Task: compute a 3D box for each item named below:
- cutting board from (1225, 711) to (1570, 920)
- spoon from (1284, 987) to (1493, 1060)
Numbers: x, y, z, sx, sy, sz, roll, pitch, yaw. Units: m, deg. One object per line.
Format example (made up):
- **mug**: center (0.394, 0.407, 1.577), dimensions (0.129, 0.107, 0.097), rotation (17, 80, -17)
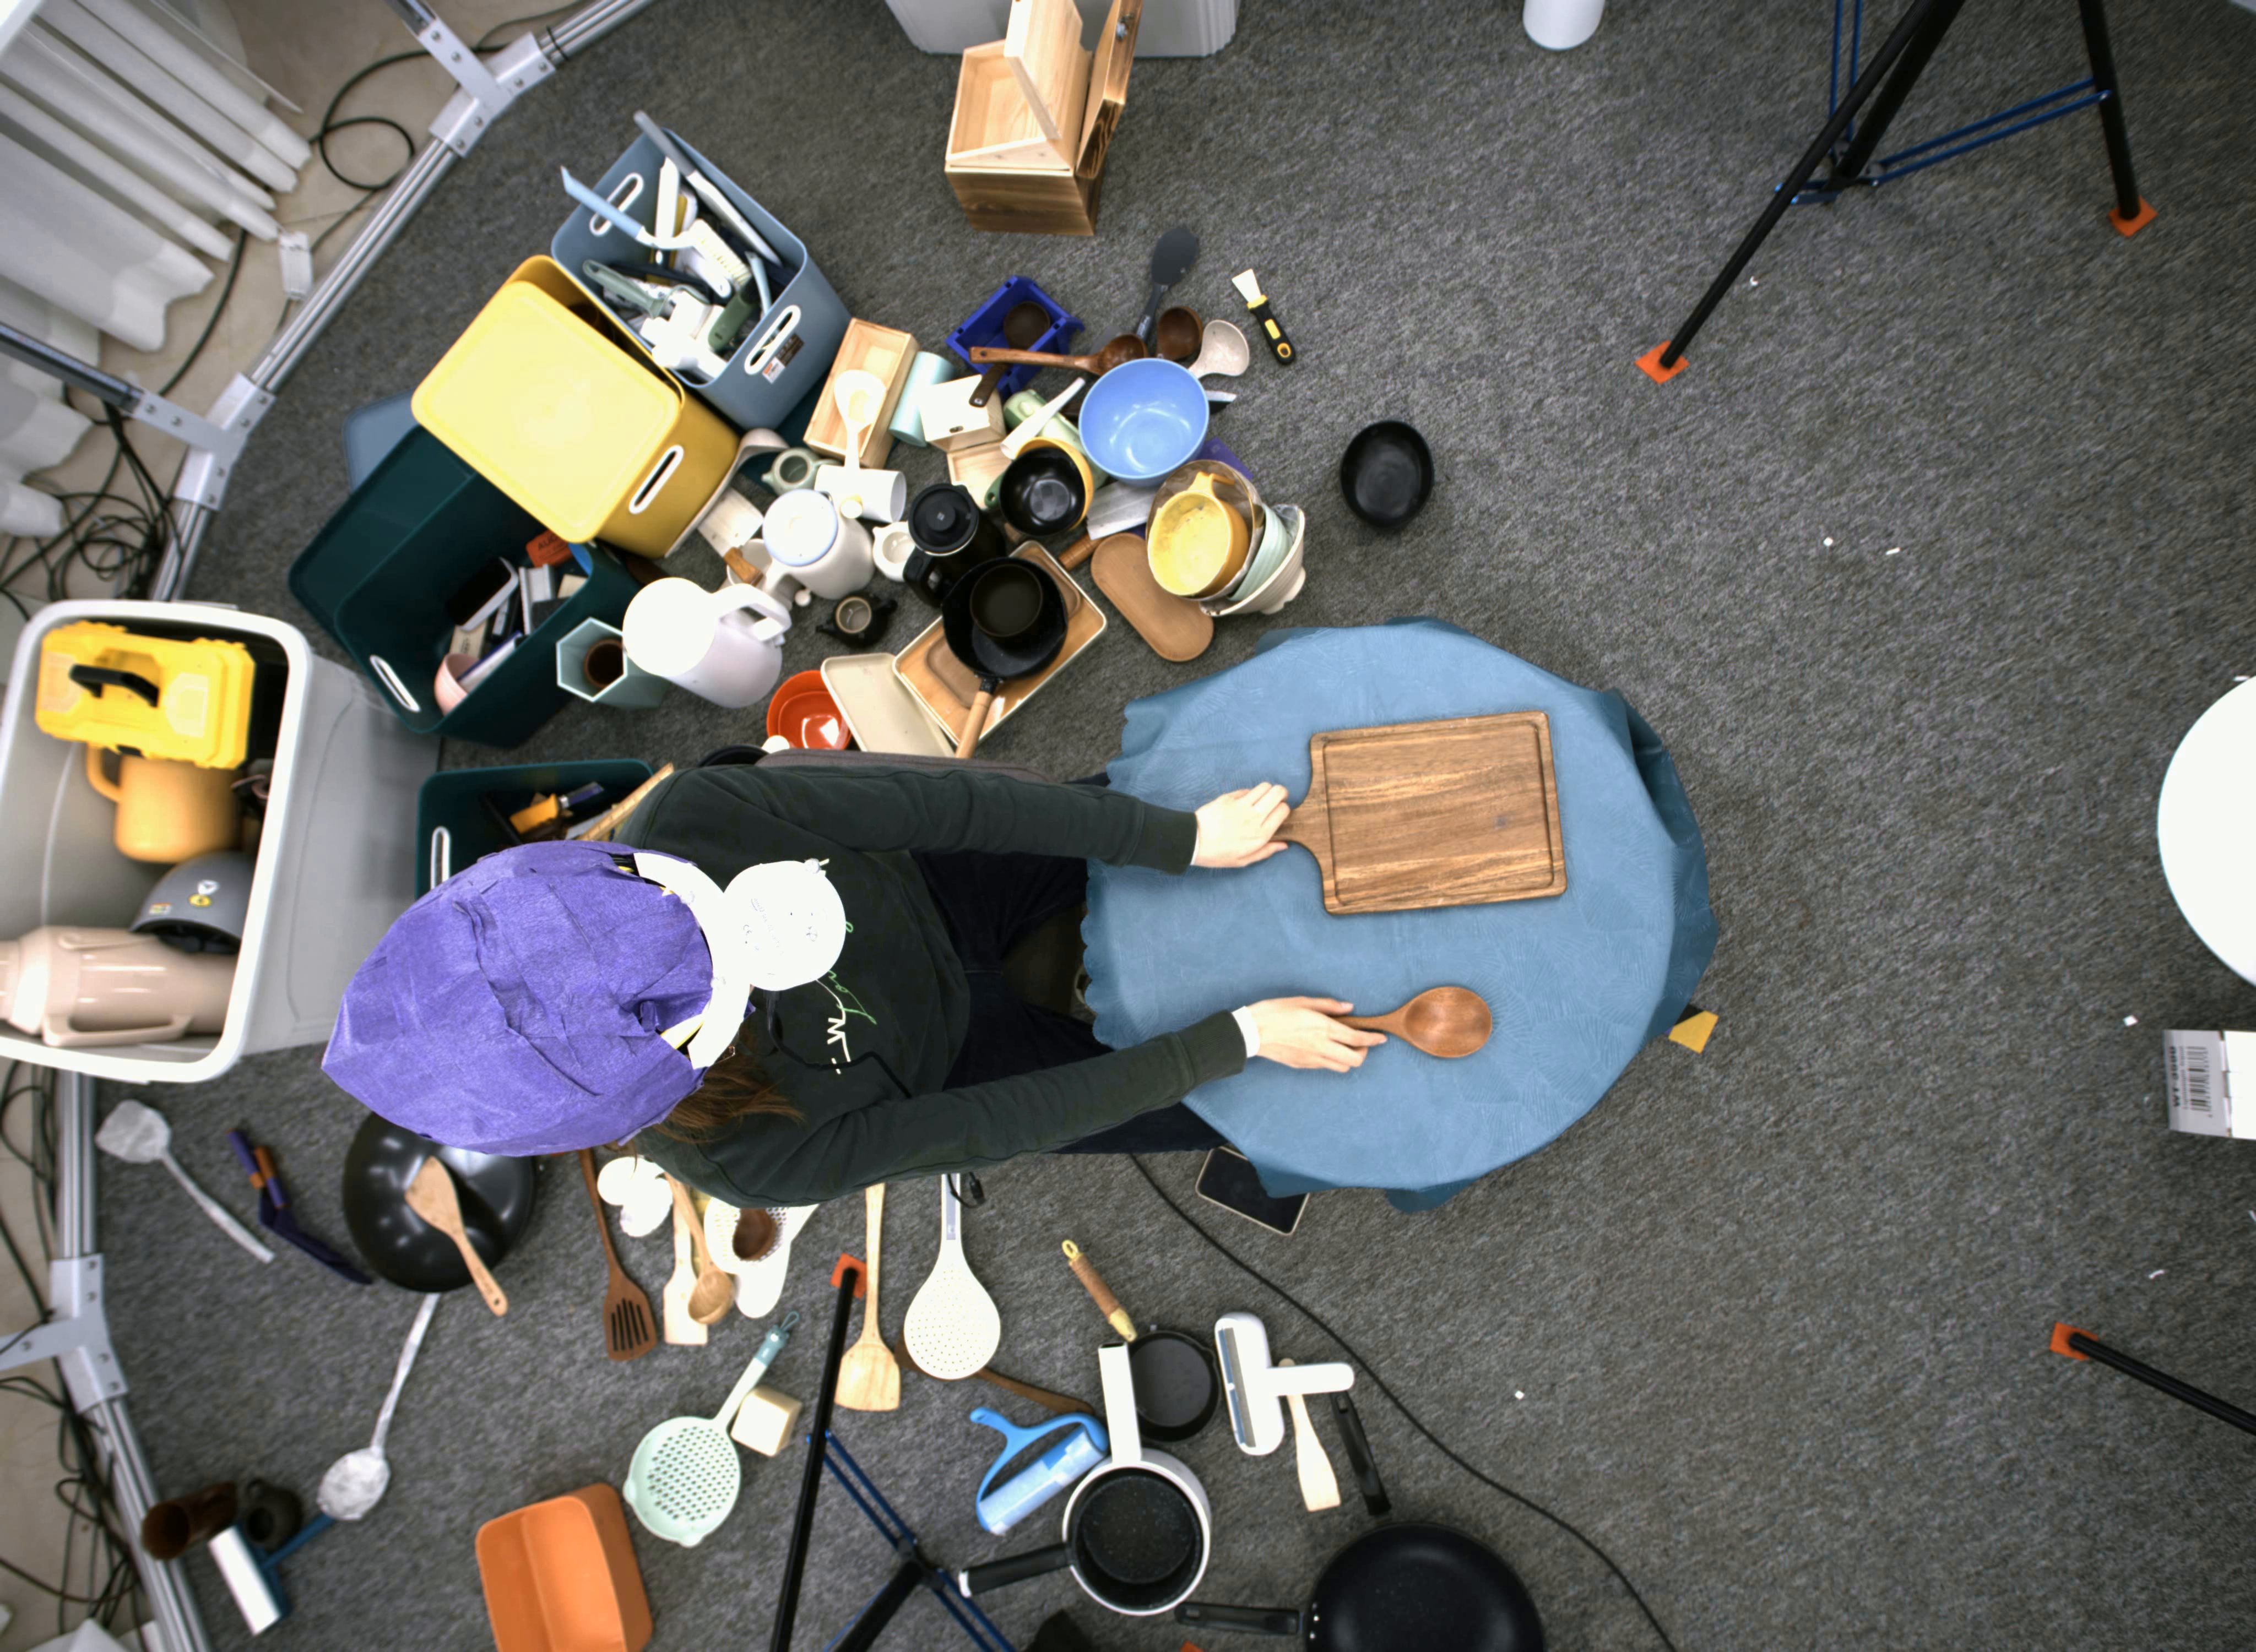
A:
- **cutting board**: center (0.278, -0.007, 1.460), dimensions (0.354, 0.023, 0.200), rotation (-6, 86, 10)
- **spoon**: center (0.271, 0.206, 1.446), dimensions (0.217, 0.017, 0.075), rotation (-3, 87, 10)
